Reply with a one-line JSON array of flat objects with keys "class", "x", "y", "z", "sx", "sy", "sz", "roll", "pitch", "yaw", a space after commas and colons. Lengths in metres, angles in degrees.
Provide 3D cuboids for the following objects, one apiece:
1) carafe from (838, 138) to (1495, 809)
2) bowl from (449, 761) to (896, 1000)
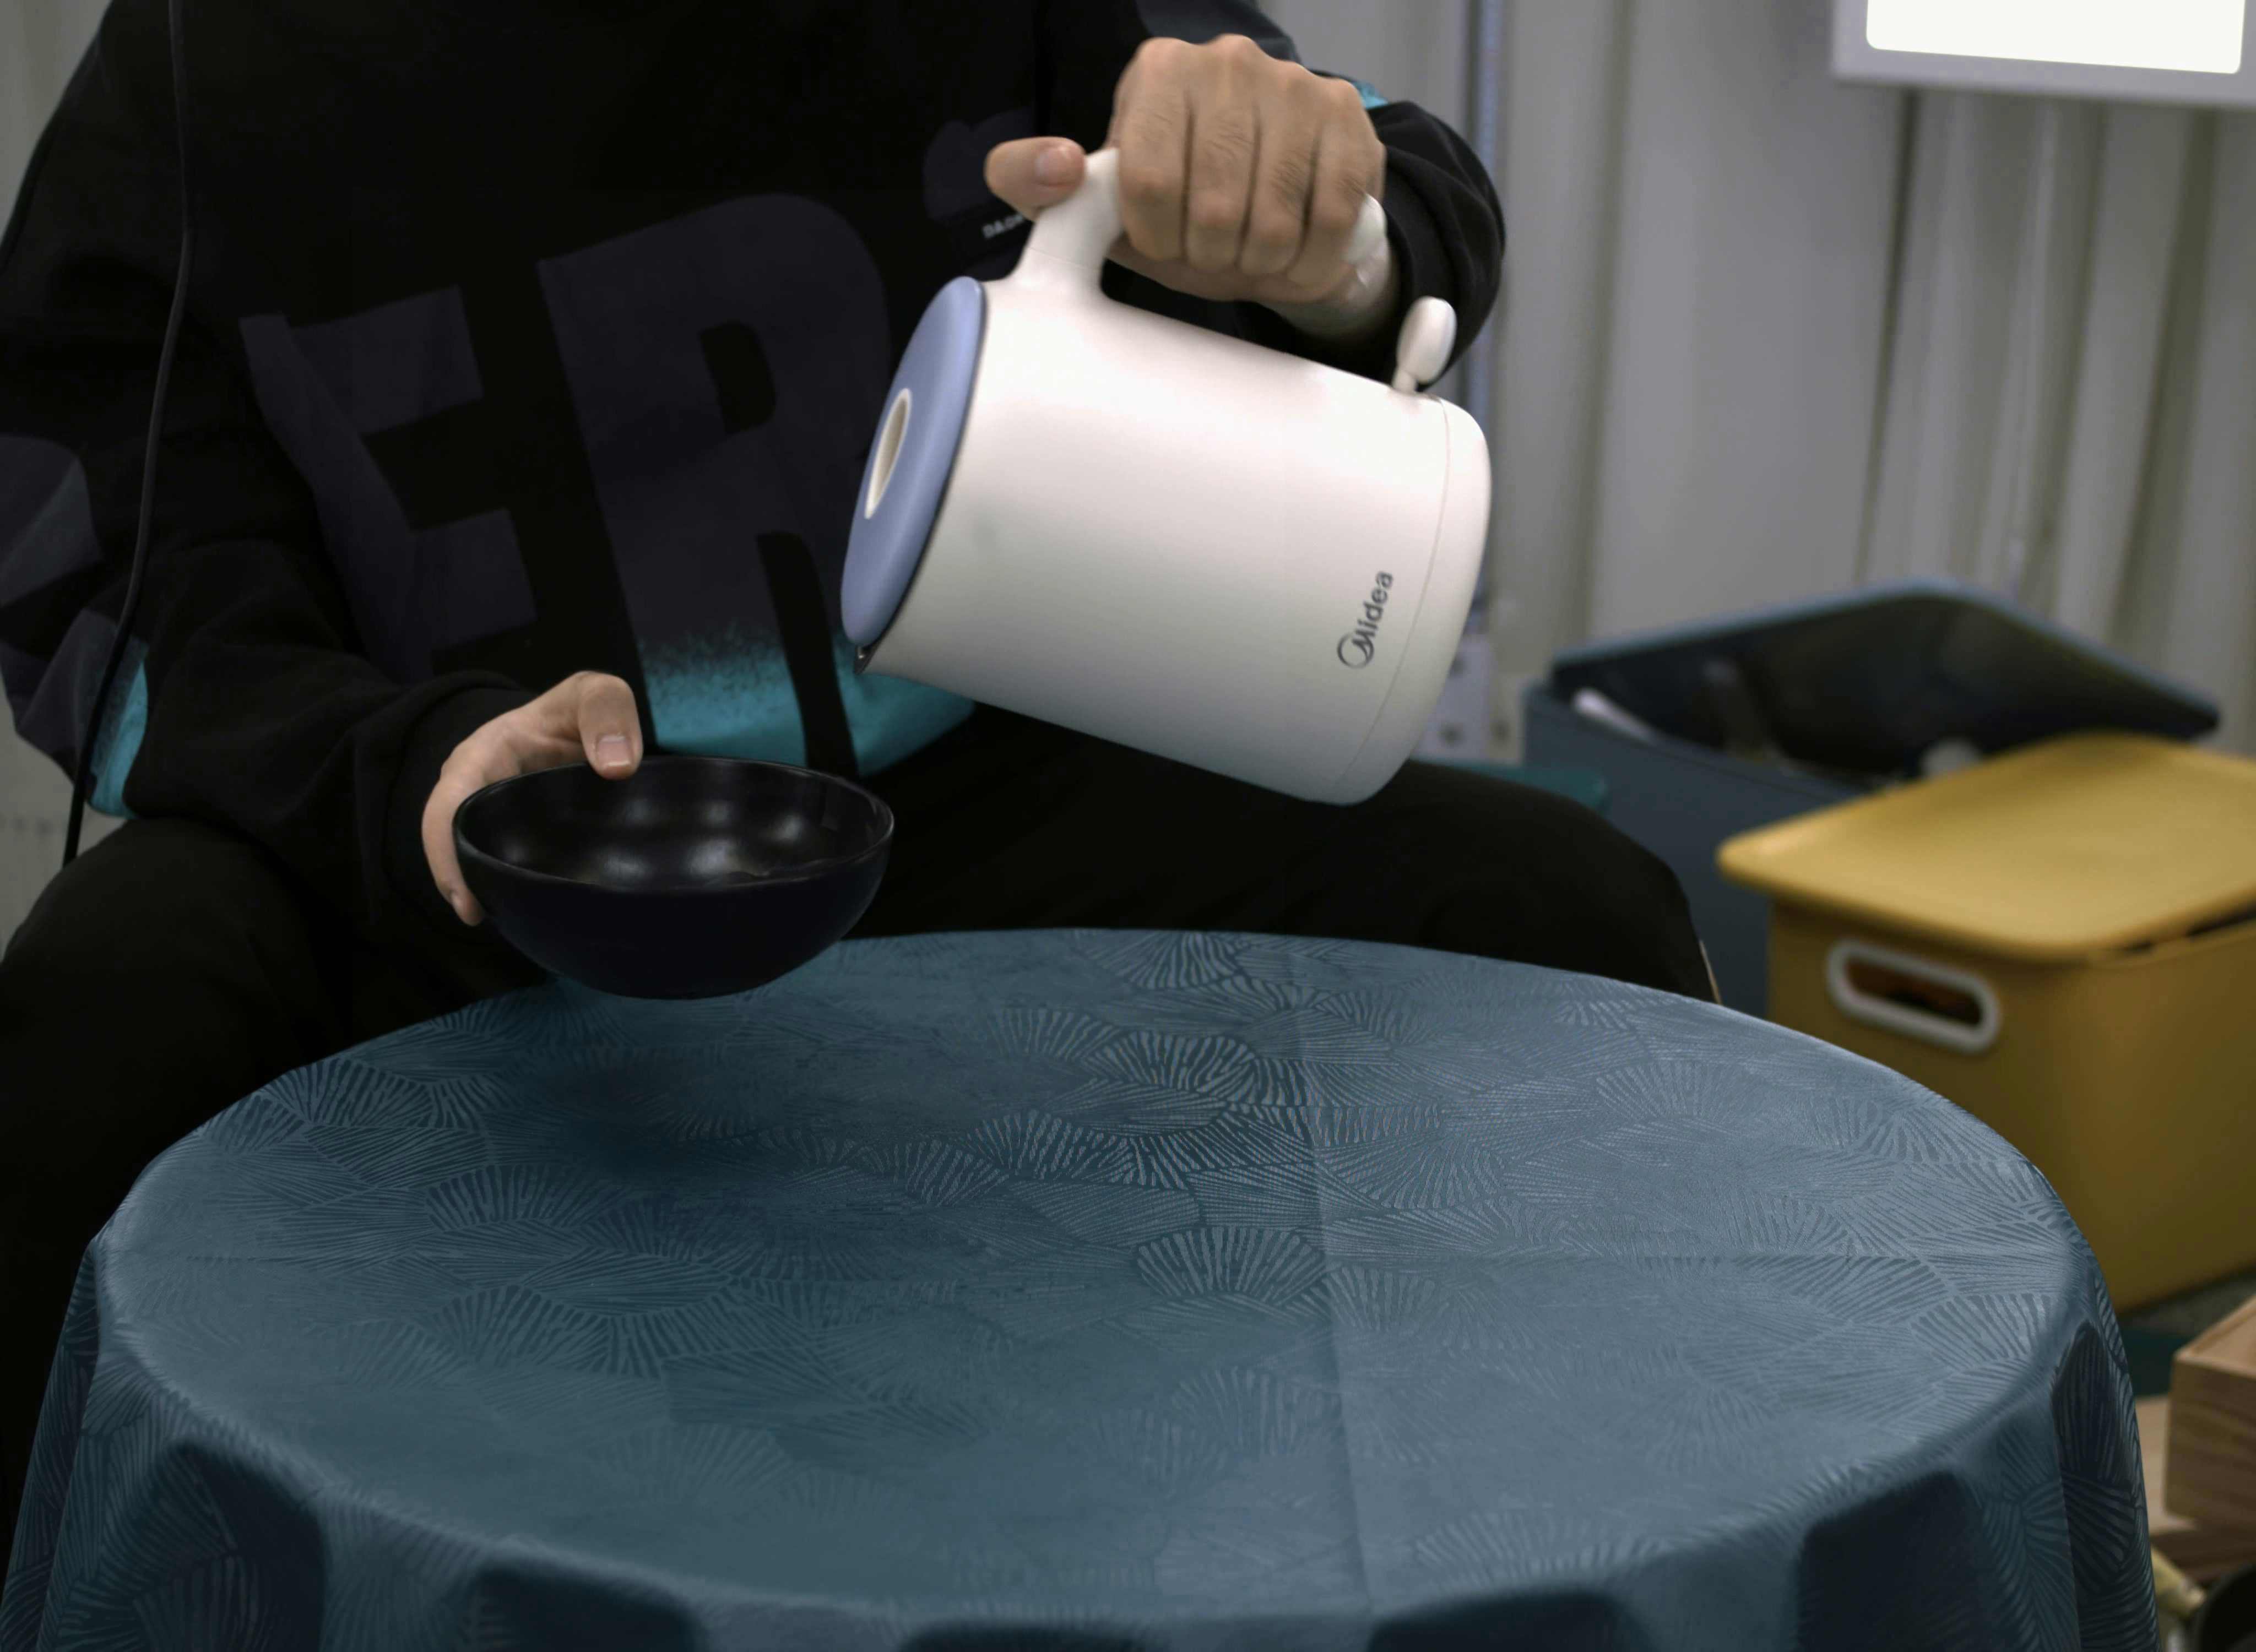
[{"class": "carafe", "x": 0.019, "y": -0.113, "z": 1.618, "sx": 0.183, "sy": 0.192, "sz": 0.131, "roll": 19, "pitch": 7, "yaw": -14}, {"class": "bowl", "x": -0.142, "y": 0.021, "z": 1.643, "sx": 0.139, "sy": 0.050, "sz": 0.139, "roll": 2, "pitch": 16, "yaw": 0}]
